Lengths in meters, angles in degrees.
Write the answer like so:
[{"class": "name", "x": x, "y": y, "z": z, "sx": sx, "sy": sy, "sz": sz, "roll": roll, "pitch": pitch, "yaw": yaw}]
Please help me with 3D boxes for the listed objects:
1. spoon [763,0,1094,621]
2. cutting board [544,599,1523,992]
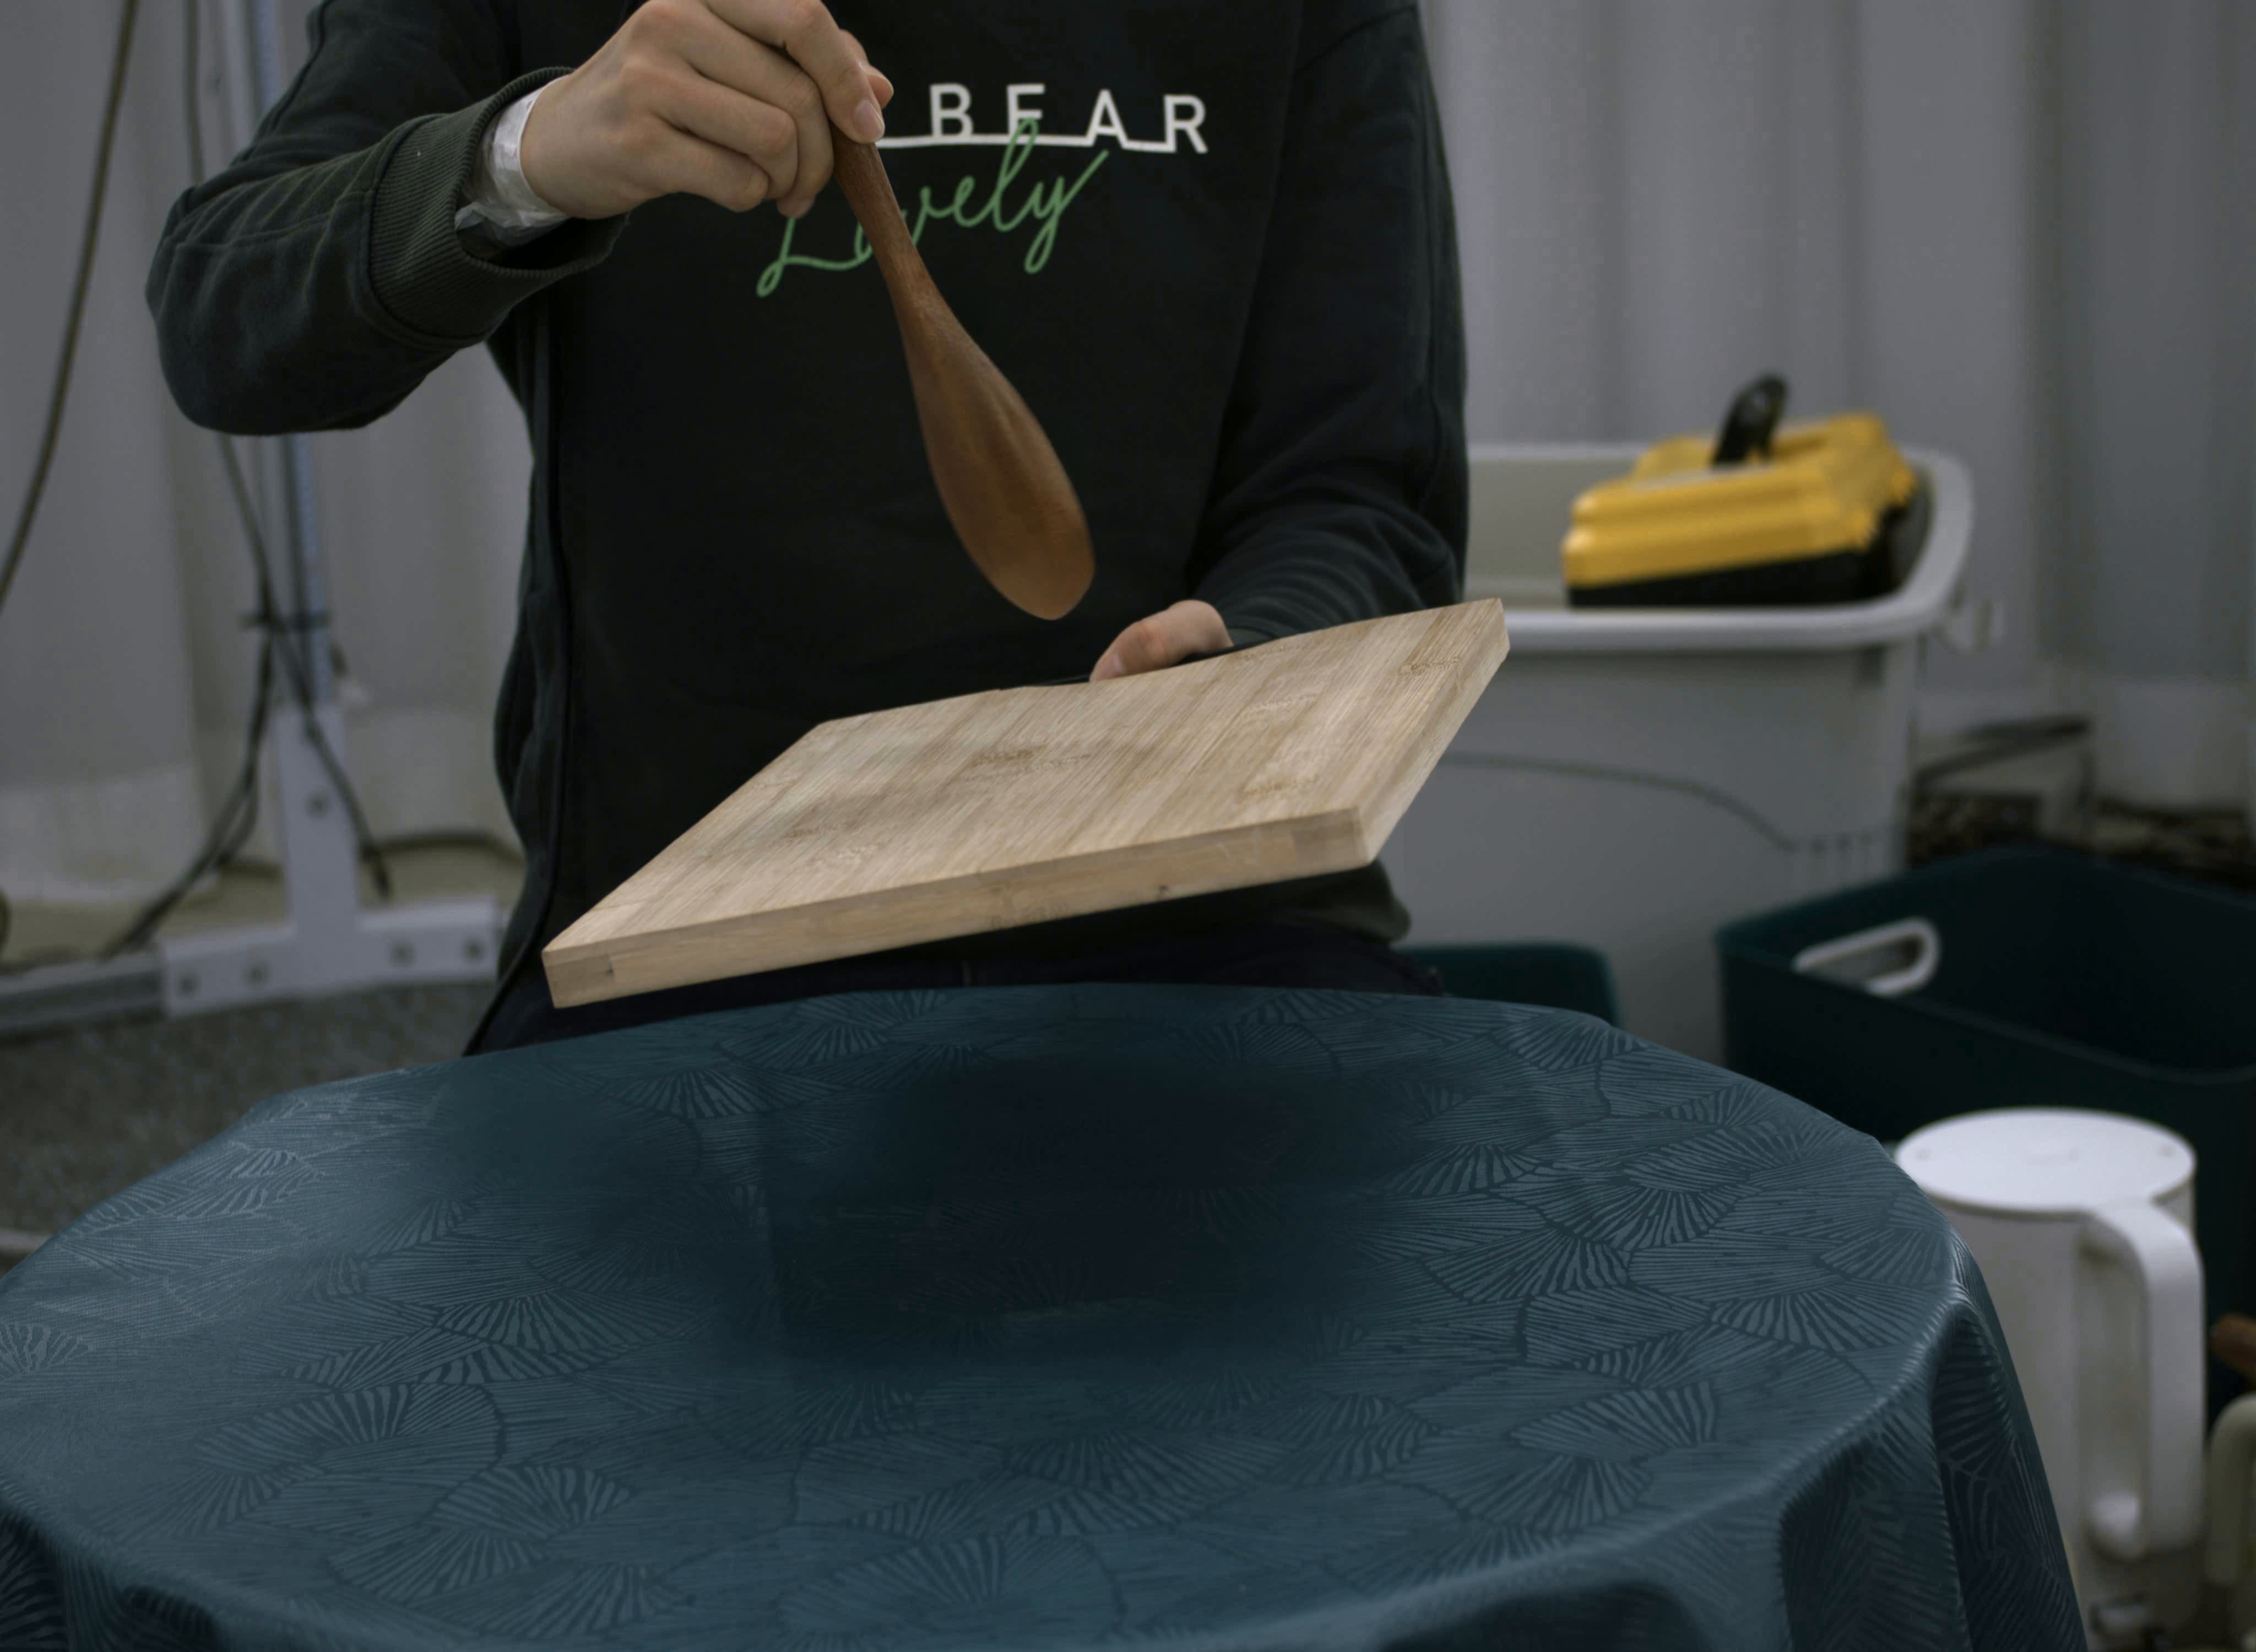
[{"class": "spoon", "x": -0.063, "y": -0.160, "z": 1.676, "sx": 0.017, "sy": 0.216, "sz": 0.075, "roll": -25, "pitch": 5, "yaw": -22}, {"class": "cutting board", "x": -0.017, "y": -0.013, "z": 1.688, "sx": 0.250, "sy": 0.023, "sz": 0.350, "roll": -9, "pitch": 10, "yaw": 12}]
